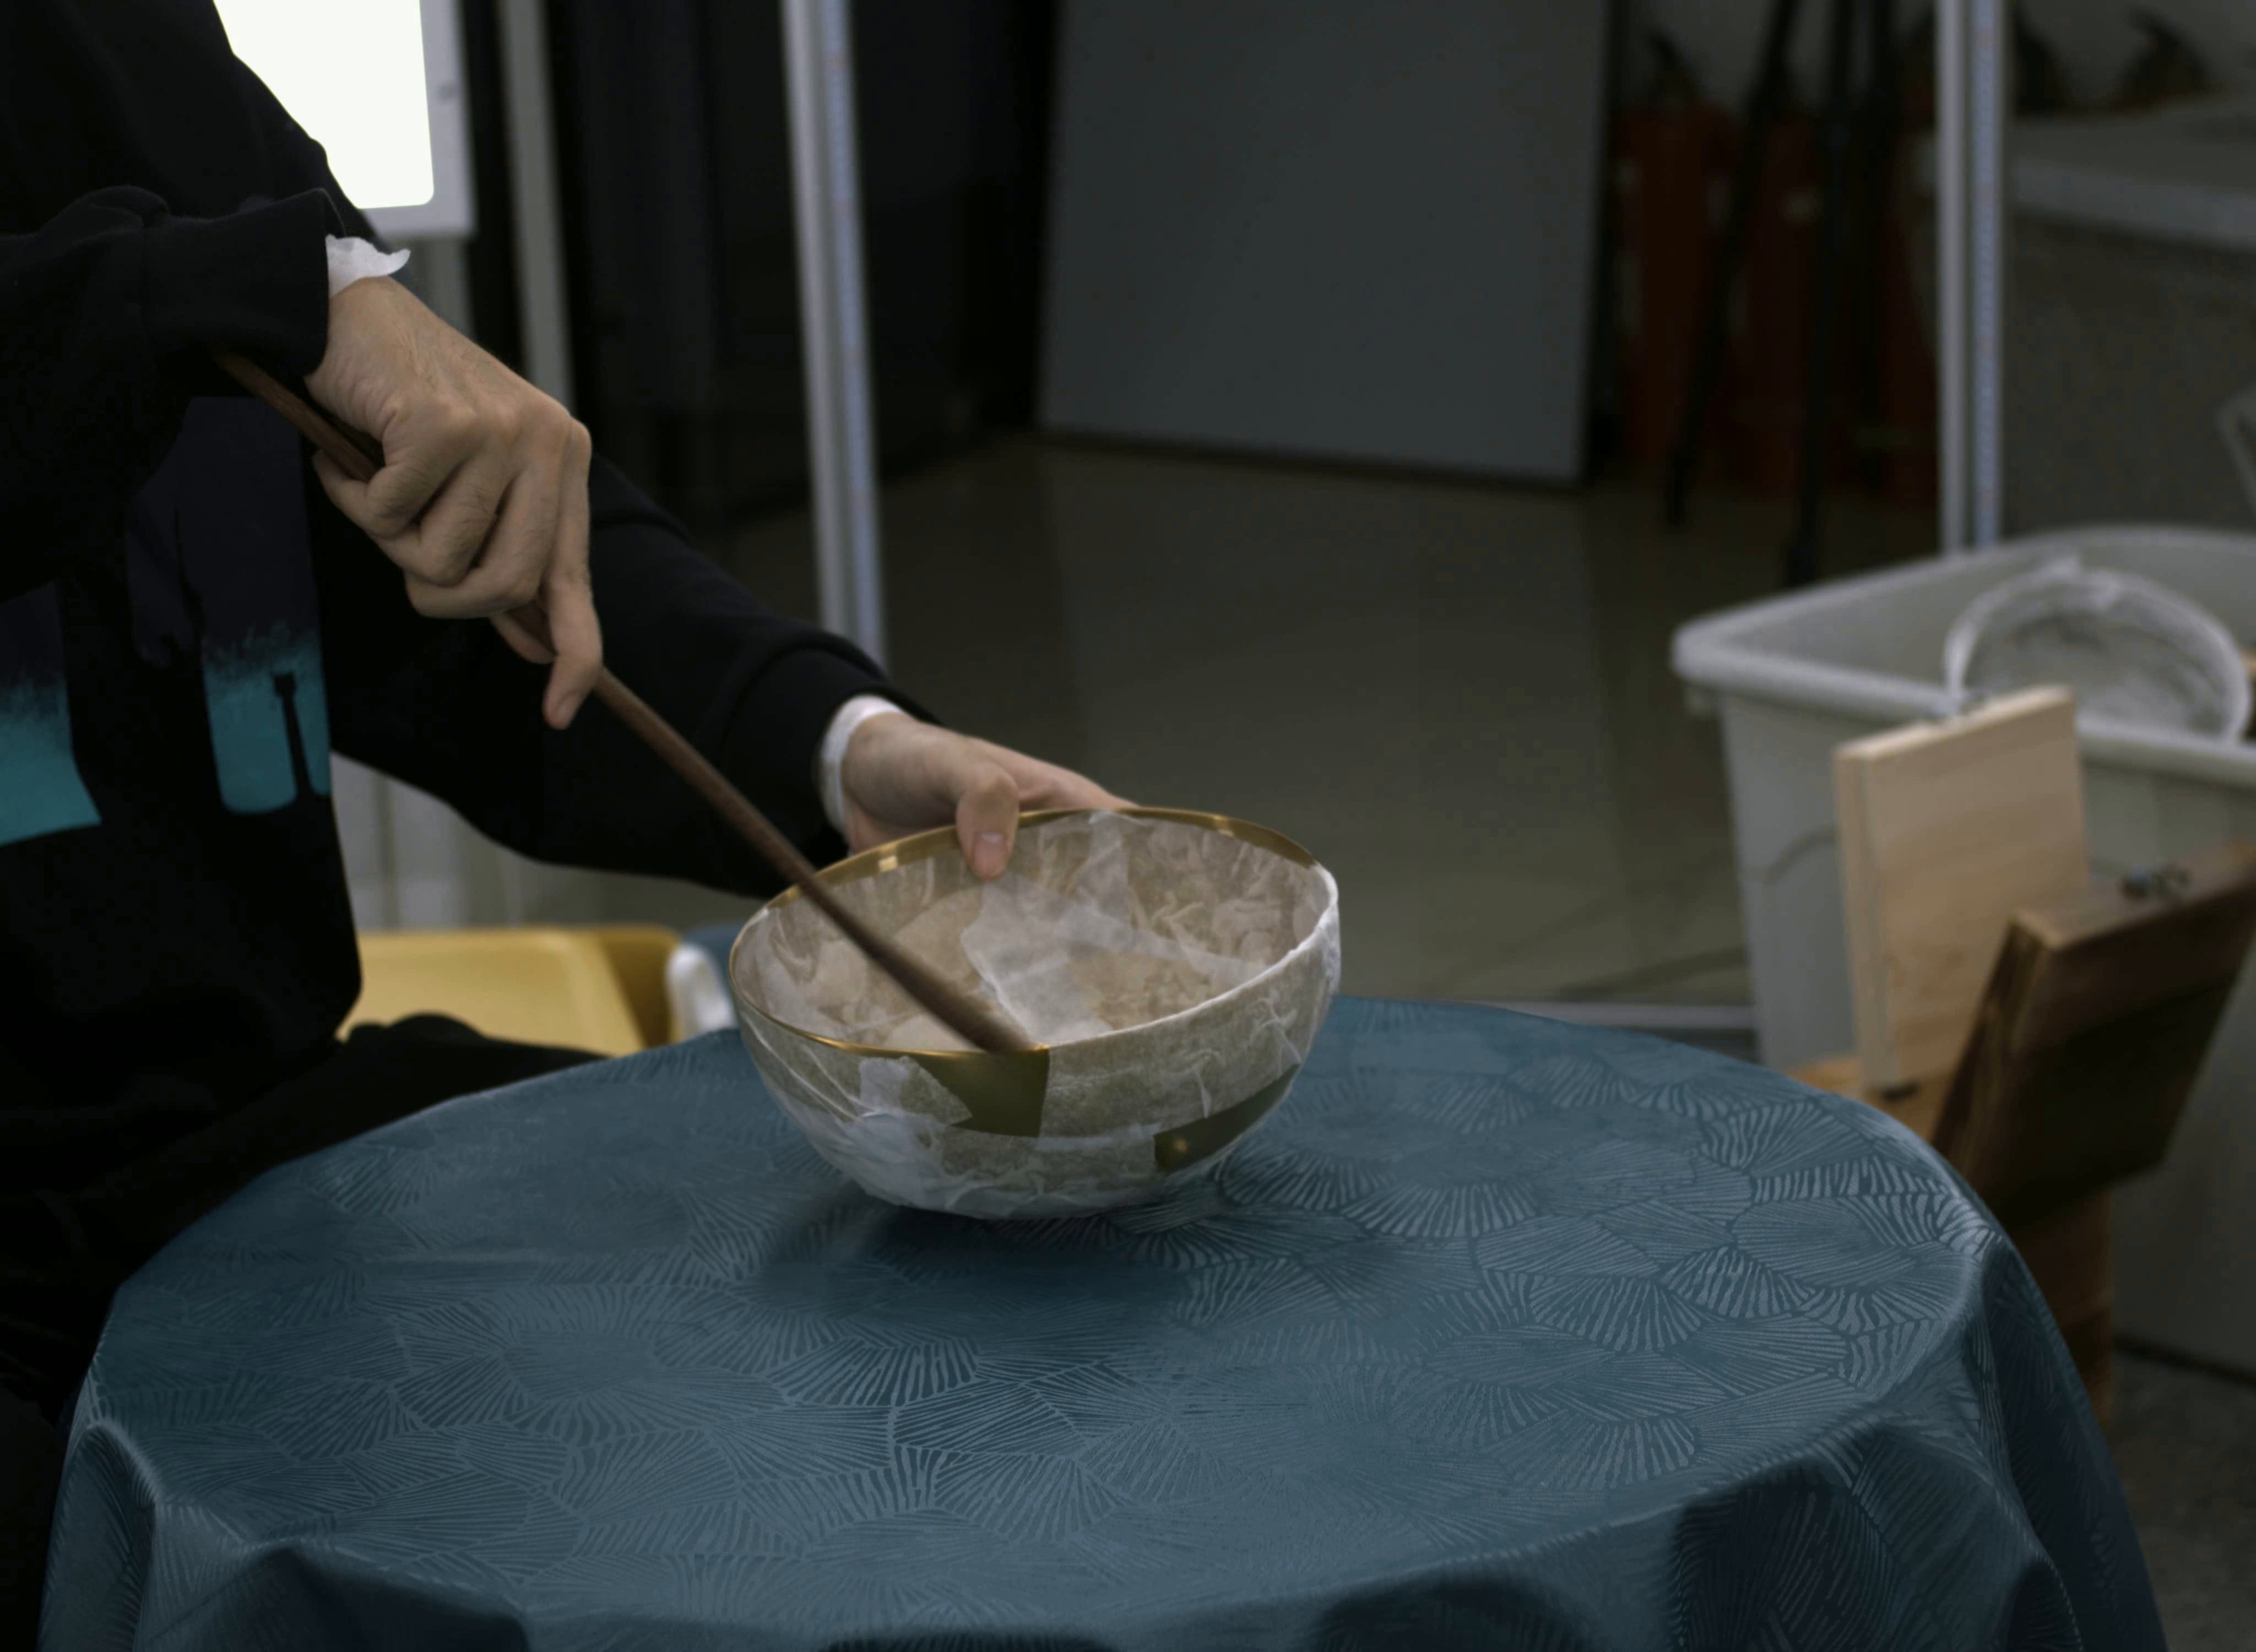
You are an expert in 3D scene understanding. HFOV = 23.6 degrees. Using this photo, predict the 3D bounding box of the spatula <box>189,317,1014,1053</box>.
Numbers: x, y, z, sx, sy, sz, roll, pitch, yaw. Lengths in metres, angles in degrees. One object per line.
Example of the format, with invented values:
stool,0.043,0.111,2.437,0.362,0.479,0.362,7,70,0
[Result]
spatula,-0.152,-0.030,1.726,0.016,0.384,0.096,-46,8,-1

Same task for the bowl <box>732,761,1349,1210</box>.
bowl,-0.029,0.062,1.761,0.212,0.095,0.215,-3,28,1
